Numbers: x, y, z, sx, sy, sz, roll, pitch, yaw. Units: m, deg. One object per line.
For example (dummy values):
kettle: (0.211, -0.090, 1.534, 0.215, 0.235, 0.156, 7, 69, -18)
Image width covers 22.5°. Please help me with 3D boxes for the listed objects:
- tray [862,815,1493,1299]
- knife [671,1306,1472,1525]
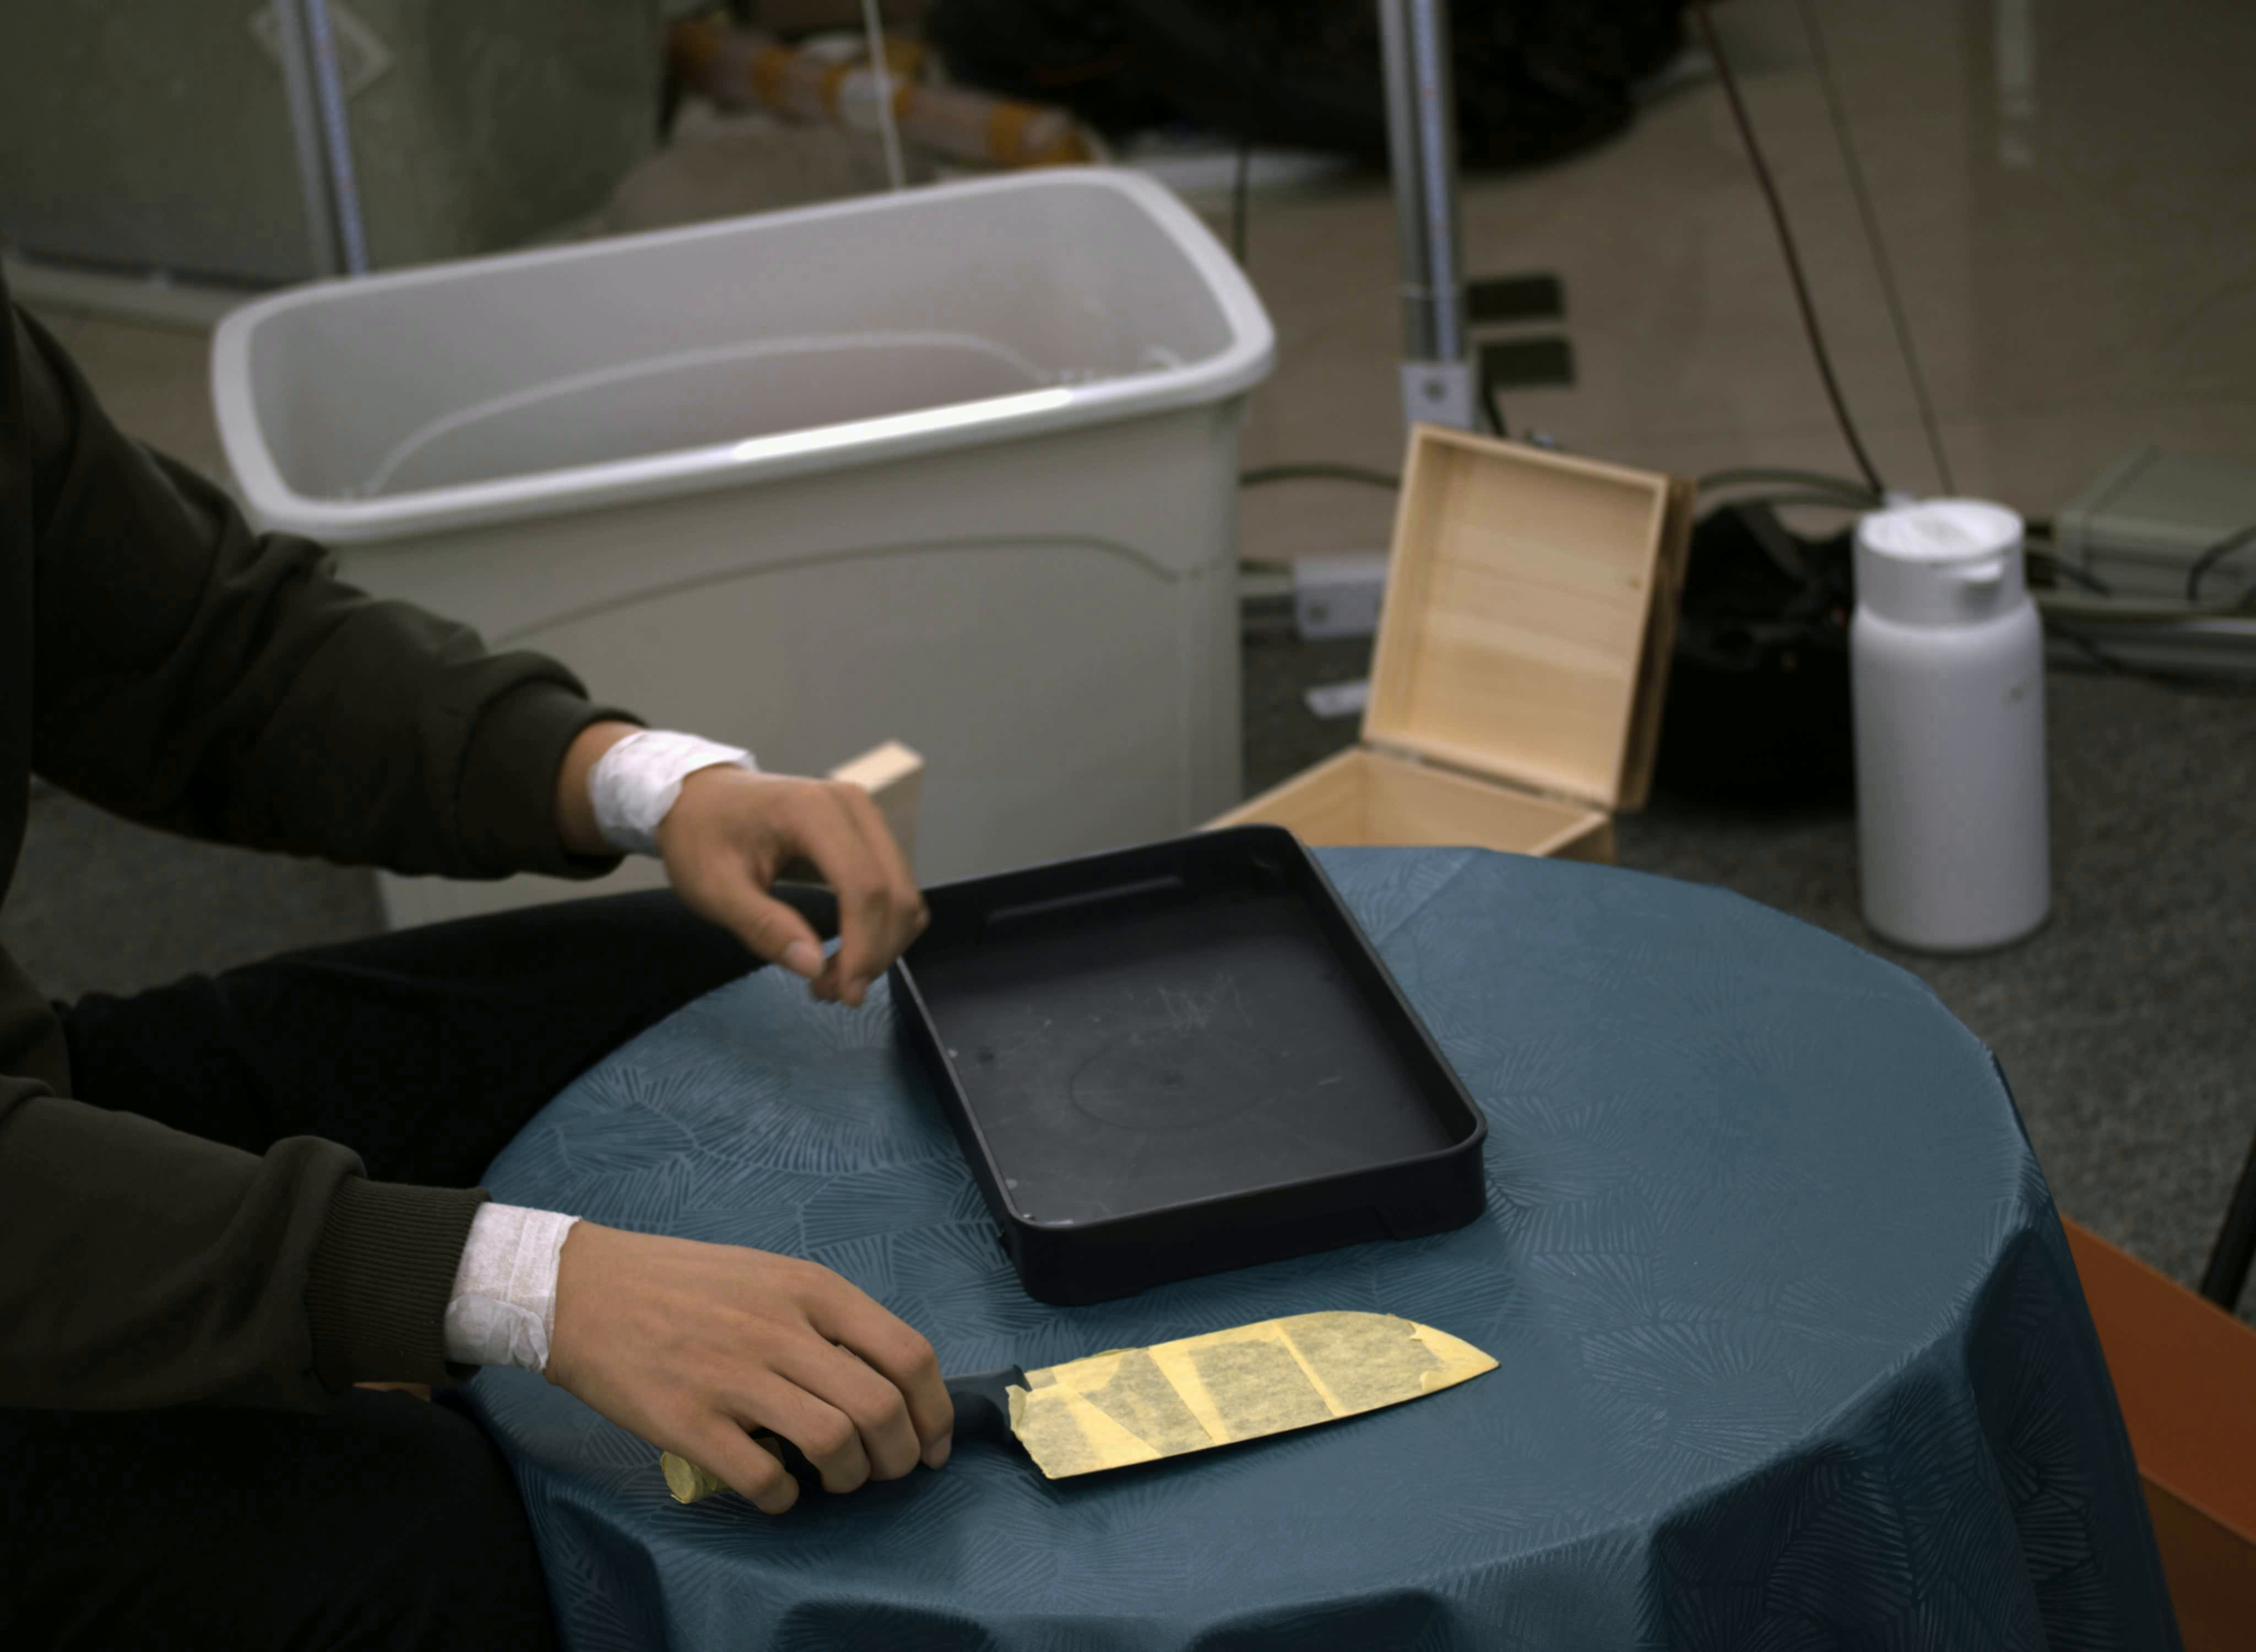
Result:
tray: (0.015, 0.085, 2.221, 0.184, 0.037, 0.313, -12, 25, -10)
knife: (-0.016, 0.208, 1.990, 0.289, 0.027, 0.080, -11, 24, -12)
